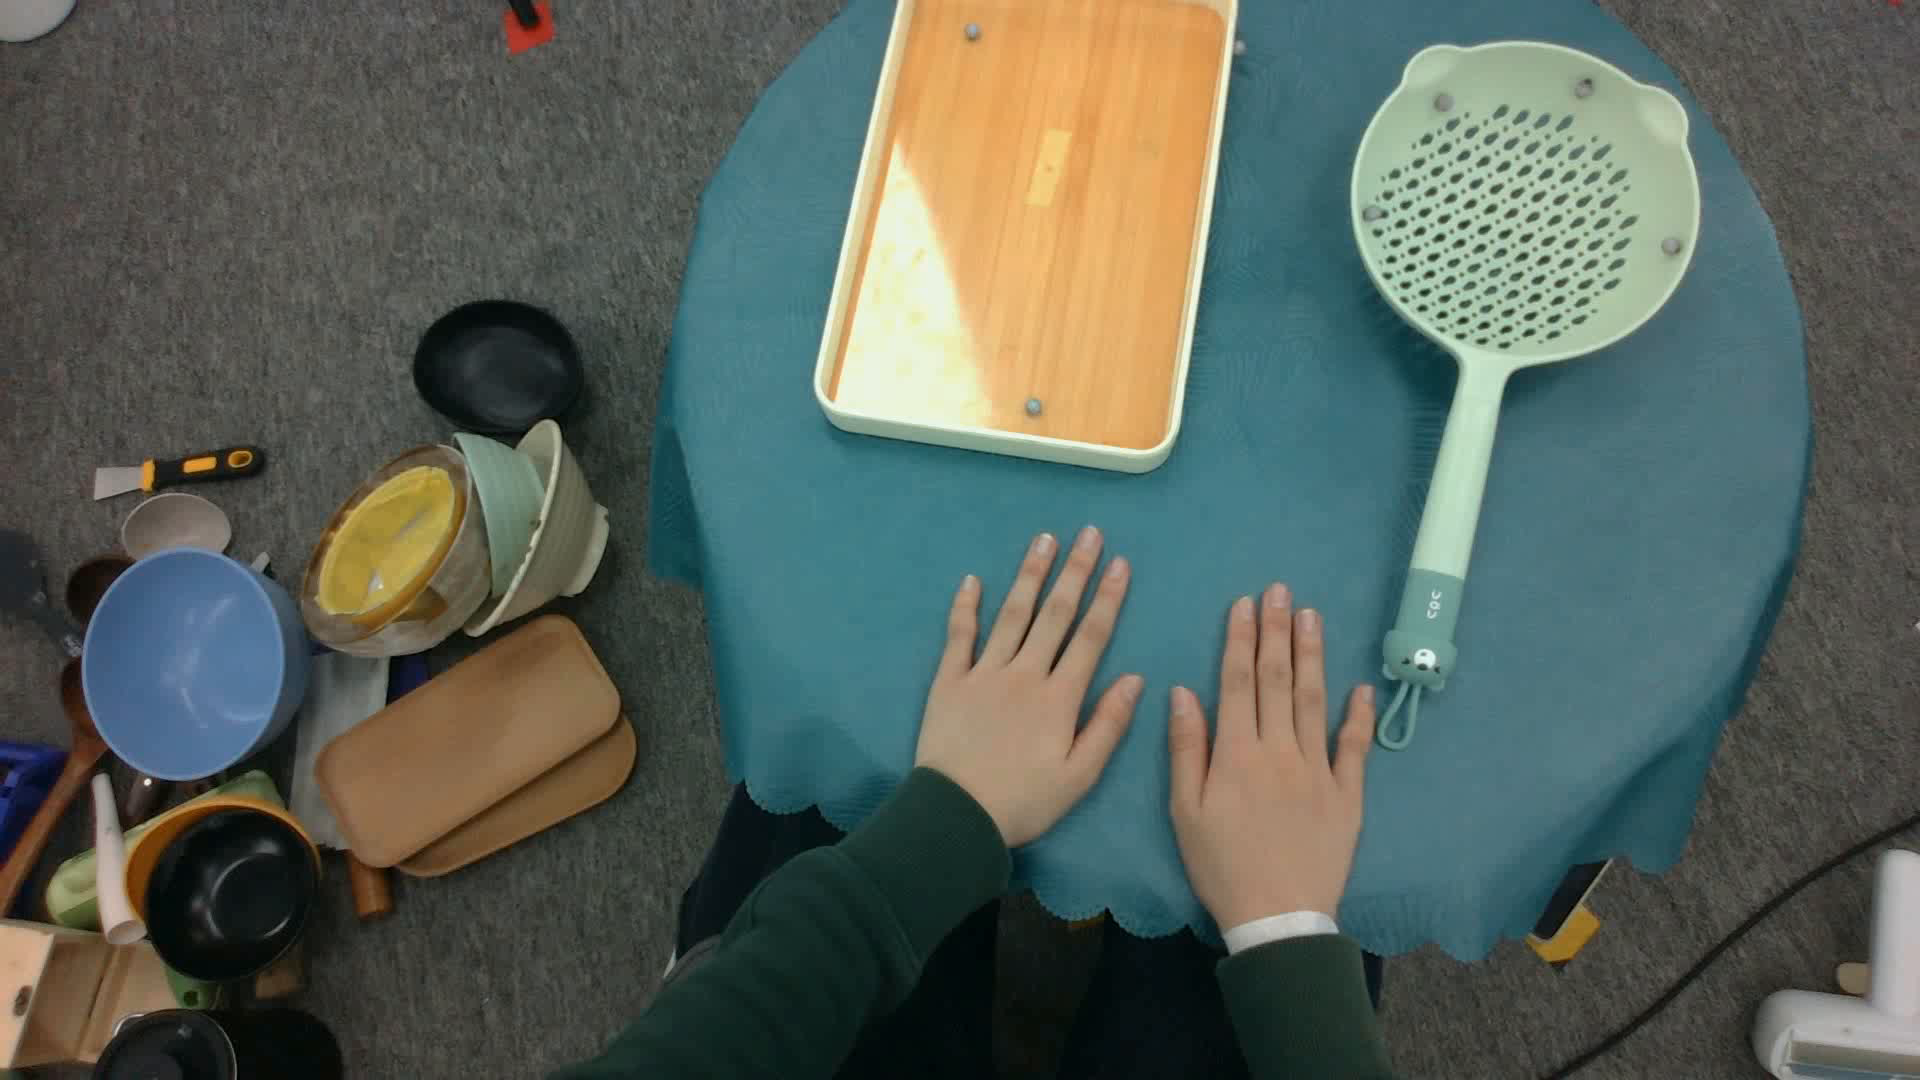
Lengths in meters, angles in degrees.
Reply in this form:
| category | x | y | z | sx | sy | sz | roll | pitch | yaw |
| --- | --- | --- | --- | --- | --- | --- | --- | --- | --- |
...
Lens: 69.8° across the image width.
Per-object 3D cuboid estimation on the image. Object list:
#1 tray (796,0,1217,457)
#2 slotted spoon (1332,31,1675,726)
| category | x | y | z | sx | sy | sz | roll | pitch | yaw |
| --- | --- | --- | --- | --- | --- | --- | --- | --- | --- |
| tray | 0.031 | -0.197 | 0.754 | 0.191 | 0.027 | 0.301 | 9 | 71 | 5 |
| slotted spoon | 0.249 | -0.085 | 0.689 | 0.169 | 0.075 | 0.360 | 14 | 72 | 7 |
